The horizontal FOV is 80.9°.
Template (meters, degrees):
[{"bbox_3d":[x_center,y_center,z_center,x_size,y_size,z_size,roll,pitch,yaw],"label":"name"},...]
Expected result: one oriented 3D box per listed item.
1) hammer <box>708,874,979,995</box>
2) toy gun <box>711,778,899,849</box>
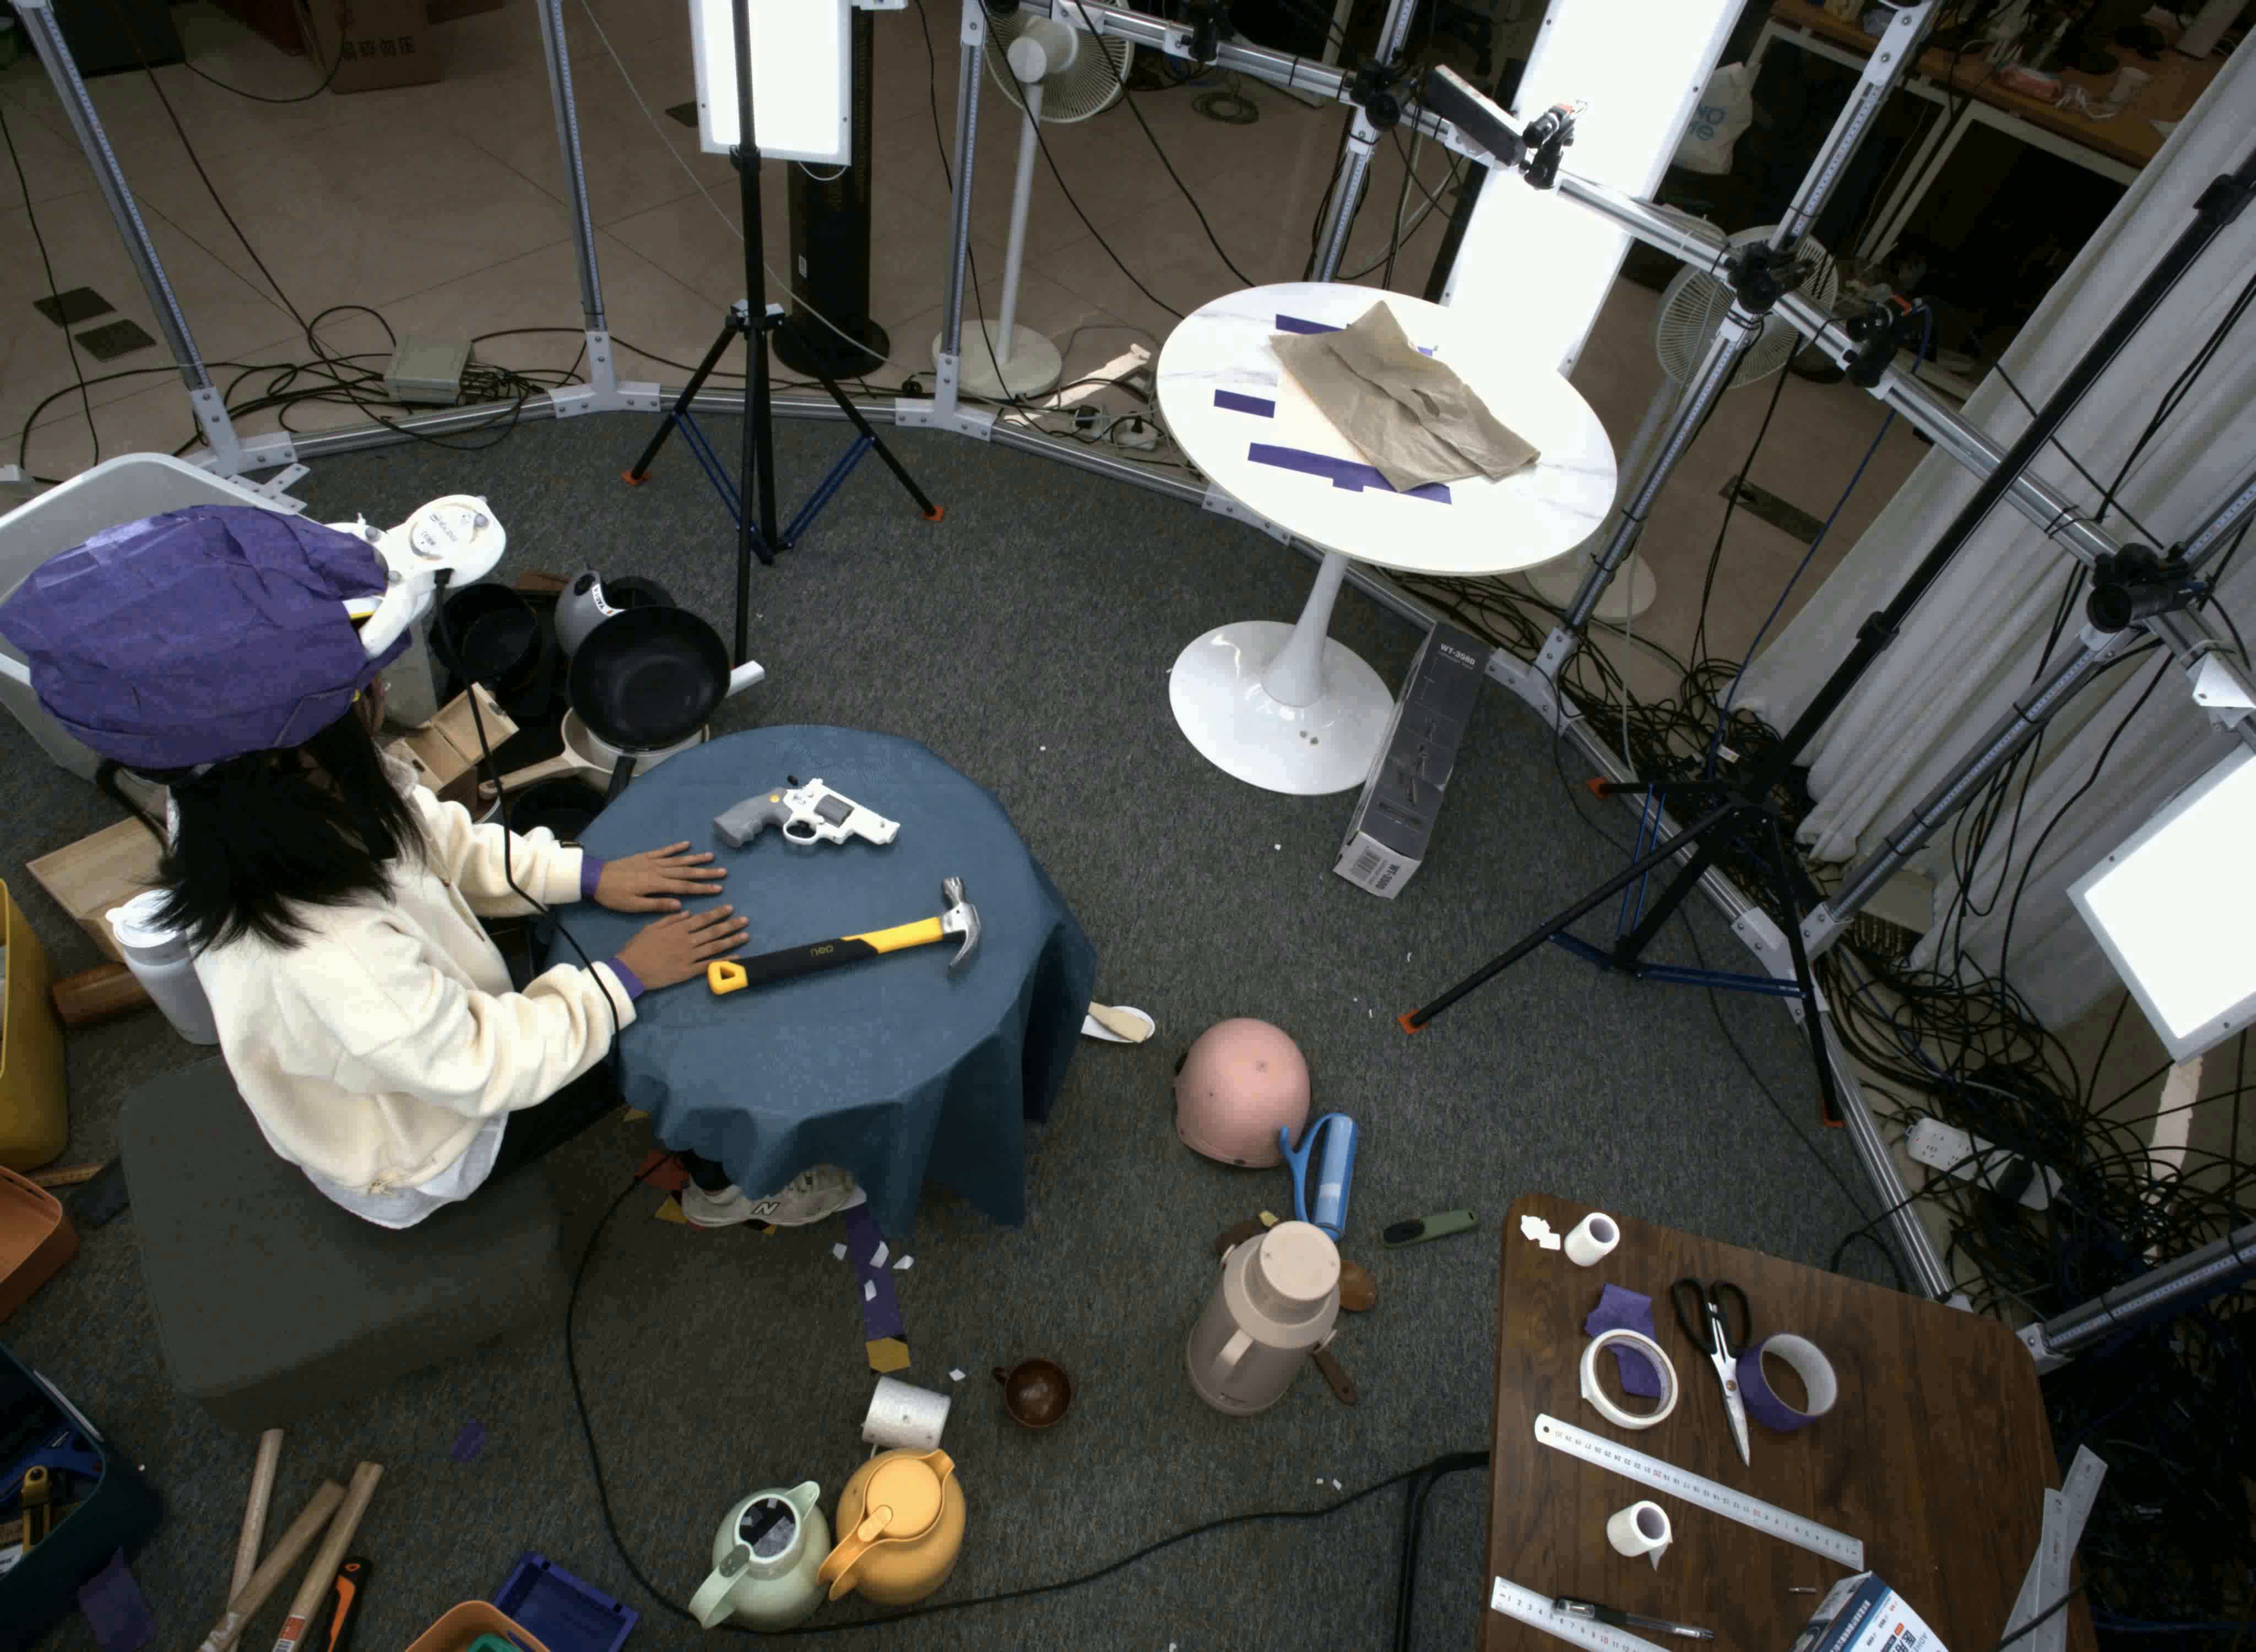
[{"bbox_3d":[-0.347,0.148,1.605,0.340,0.033,0.128,-11,60,-23],"label":"hammer"},{"bbox_3d":[-0.422,-0.002,1.695,0.206,0.039,0.140,25,50,4],"label":"toy gun"}]
